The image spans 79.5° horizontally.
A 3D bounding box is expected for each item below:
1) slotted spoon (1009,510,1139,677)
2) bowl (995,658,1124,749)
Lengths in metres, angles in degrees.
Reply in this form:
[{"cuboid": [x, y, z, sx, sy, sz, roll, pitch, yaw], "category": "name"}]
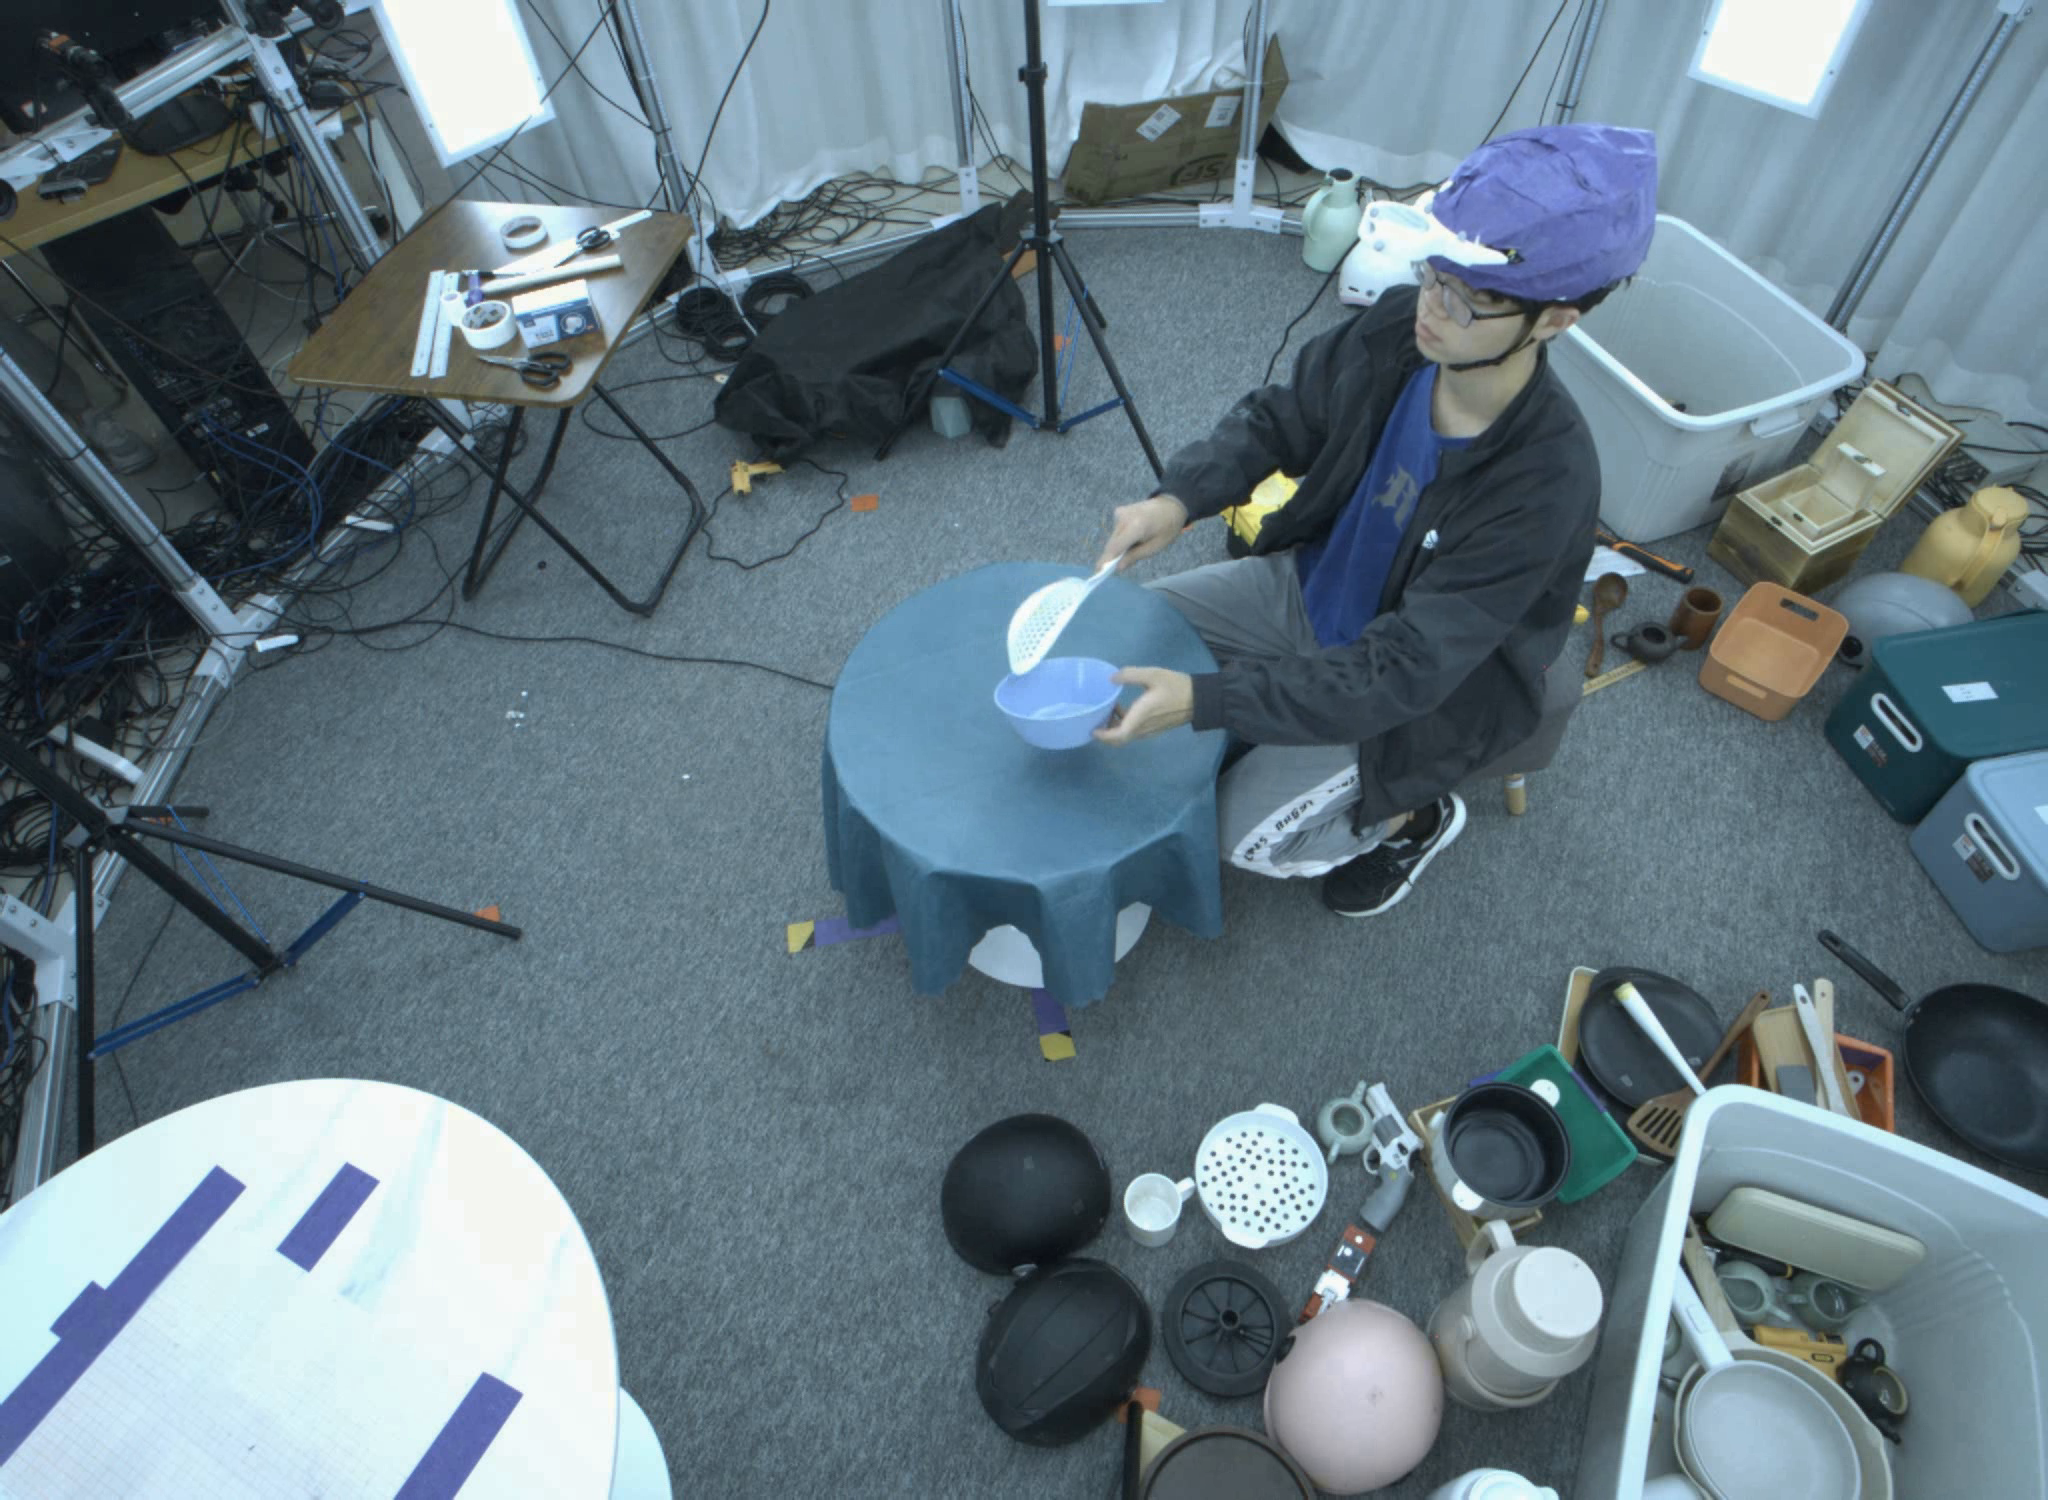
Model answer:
[{"cuboid": [0.077, -0.232, 1.697, 0.049, 0.138, 0.350, 32, 53, 22], "category": "slotted spoon"}, {"cuboid": [0.051, -0.058, 1.678, 0.175, 0.071, 0.174, -5, 30, 4], "category": "bowl"}]
